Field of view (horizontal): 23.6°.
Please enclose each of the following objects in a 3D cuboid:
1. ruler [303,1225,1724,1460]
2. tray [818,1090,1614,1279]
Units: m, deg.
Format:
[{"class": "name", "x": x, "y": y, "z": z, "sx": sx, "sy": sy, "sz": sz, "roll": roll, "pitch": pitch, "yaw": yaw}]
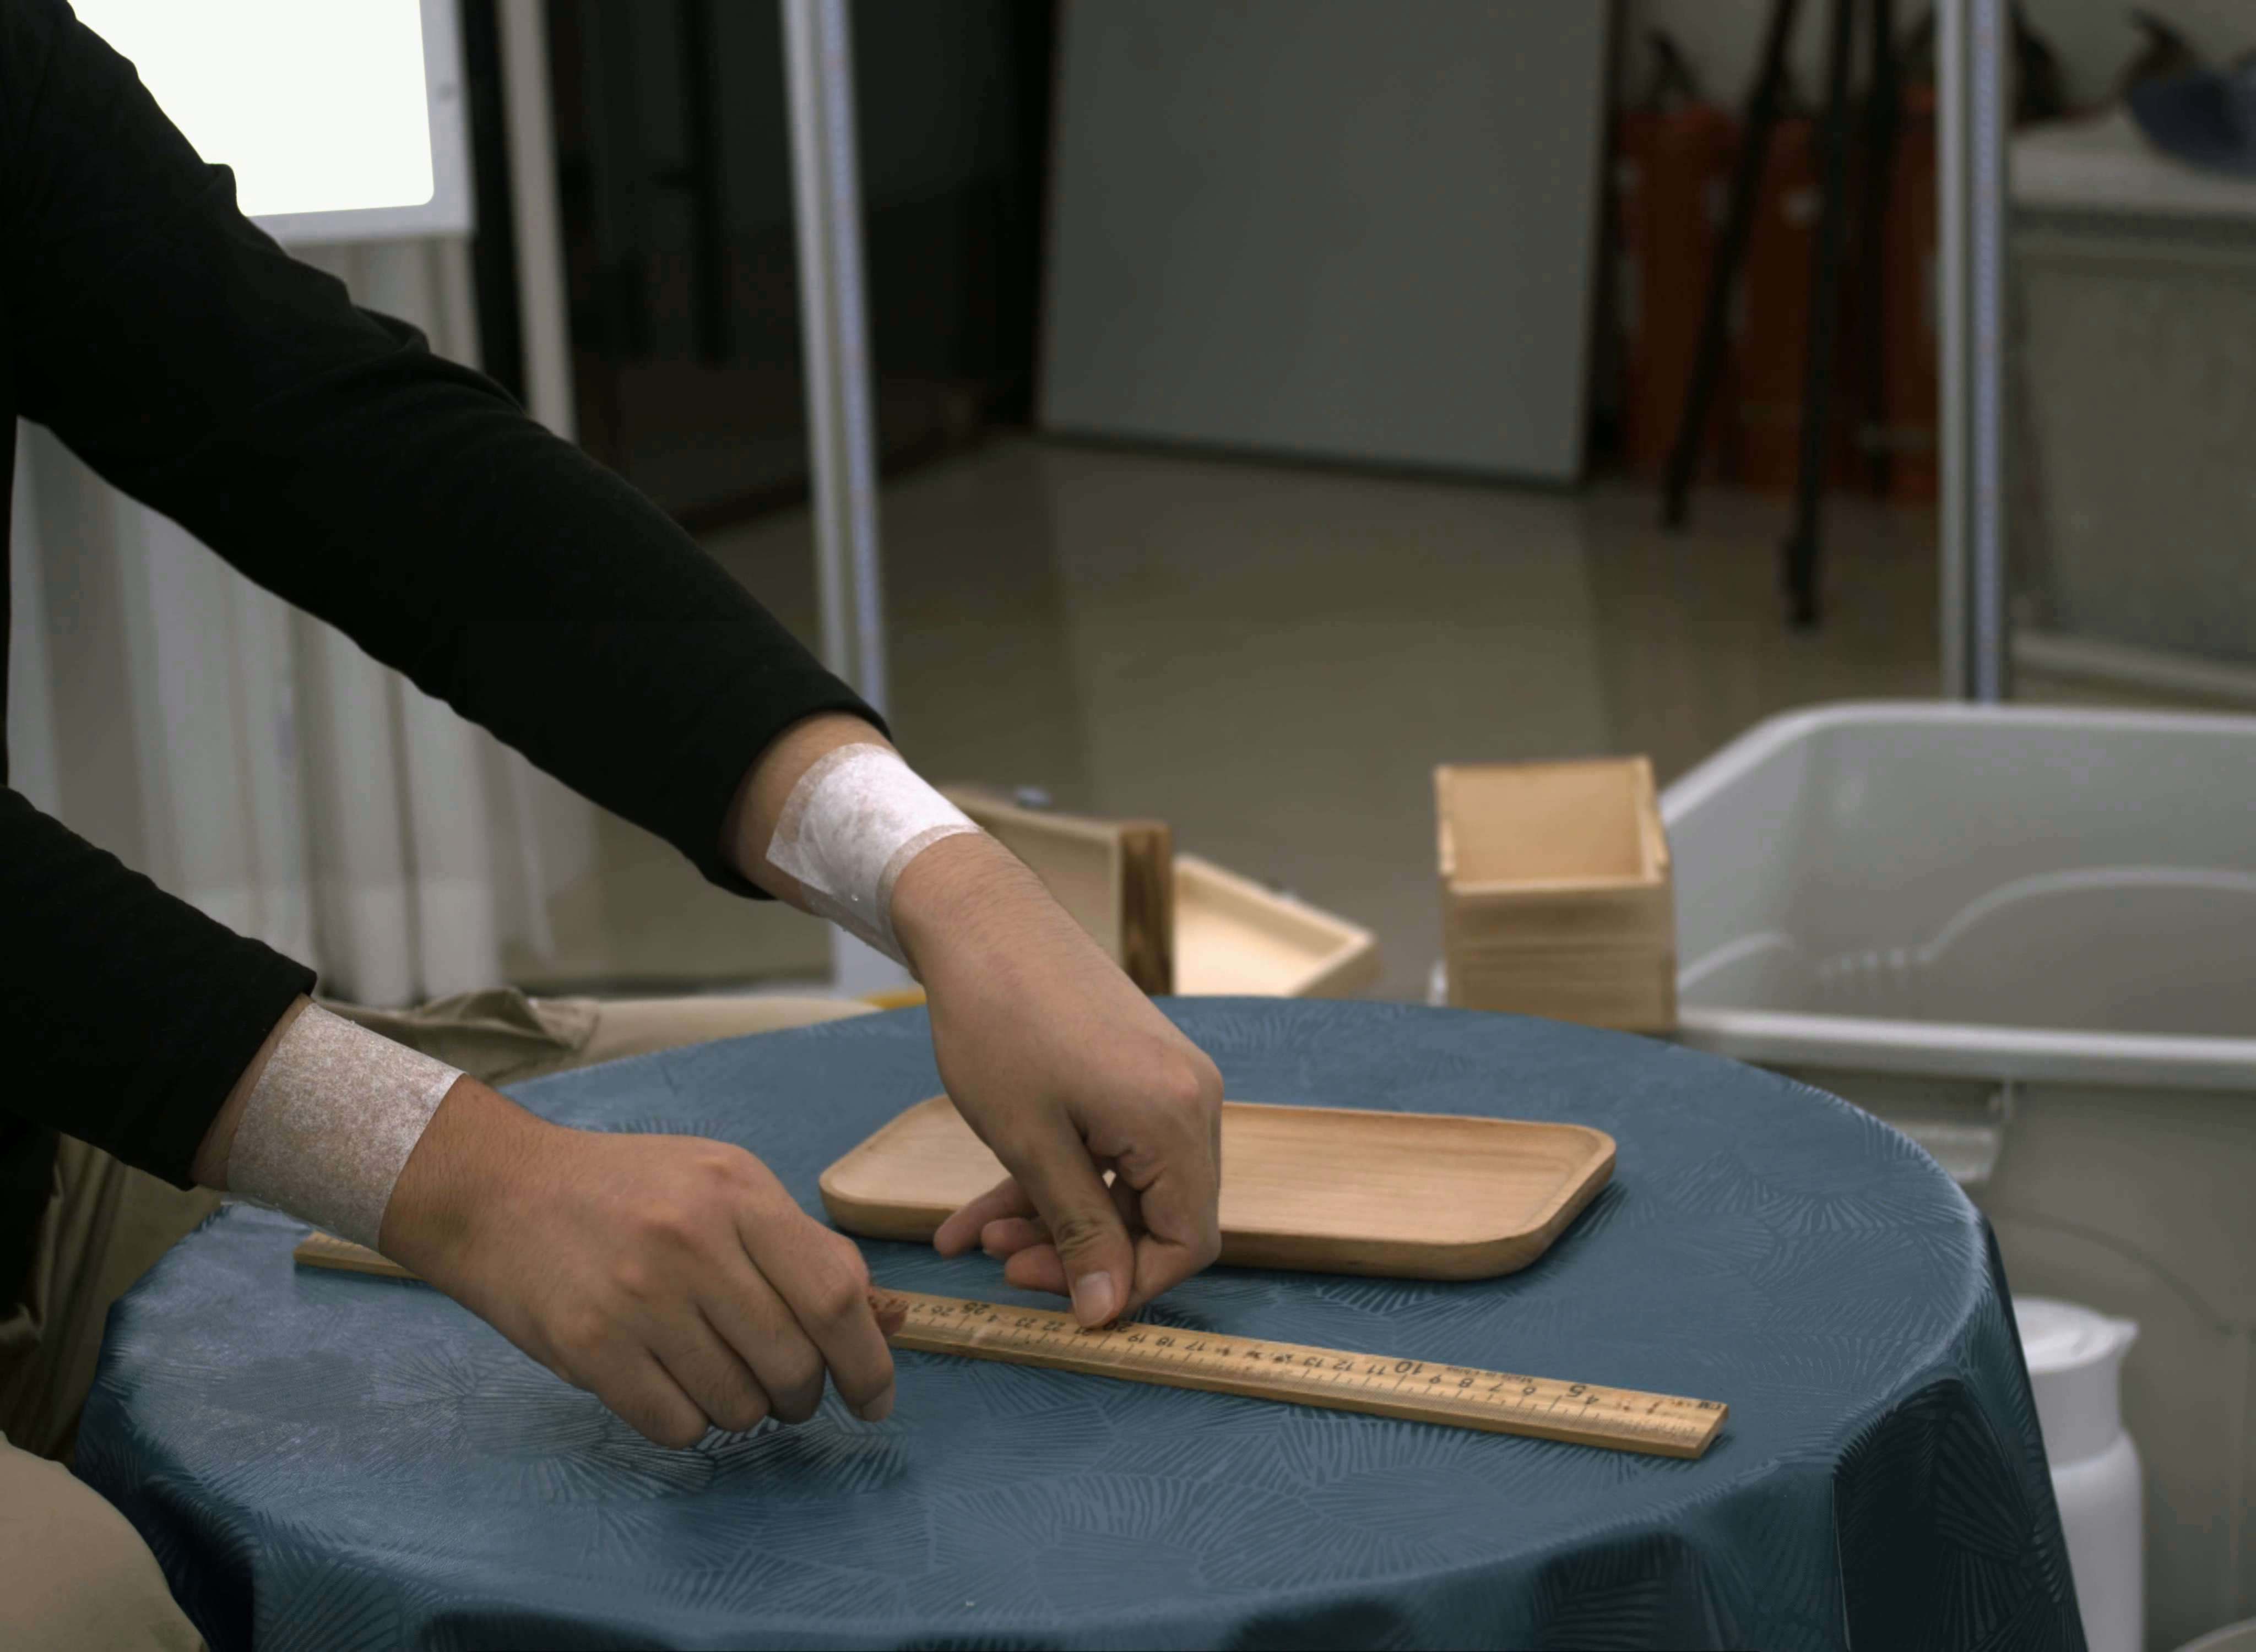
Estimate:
[{"class": "ruler", "x": -0.049, "y": 0.153, "z": 1.635, "sx": 0.503, "sy": 0.006, "sz": 0.026, "roll": 4, "pitch": 26, "yaw": 32}, {"class": "tray", "x": 0.028, "y": 0.115, "z": 1.750, "sx": 0.251, "sy": 0.023, "sz": 0.129, "roll": 1, "pitch": 12, "yaw": 25}]
